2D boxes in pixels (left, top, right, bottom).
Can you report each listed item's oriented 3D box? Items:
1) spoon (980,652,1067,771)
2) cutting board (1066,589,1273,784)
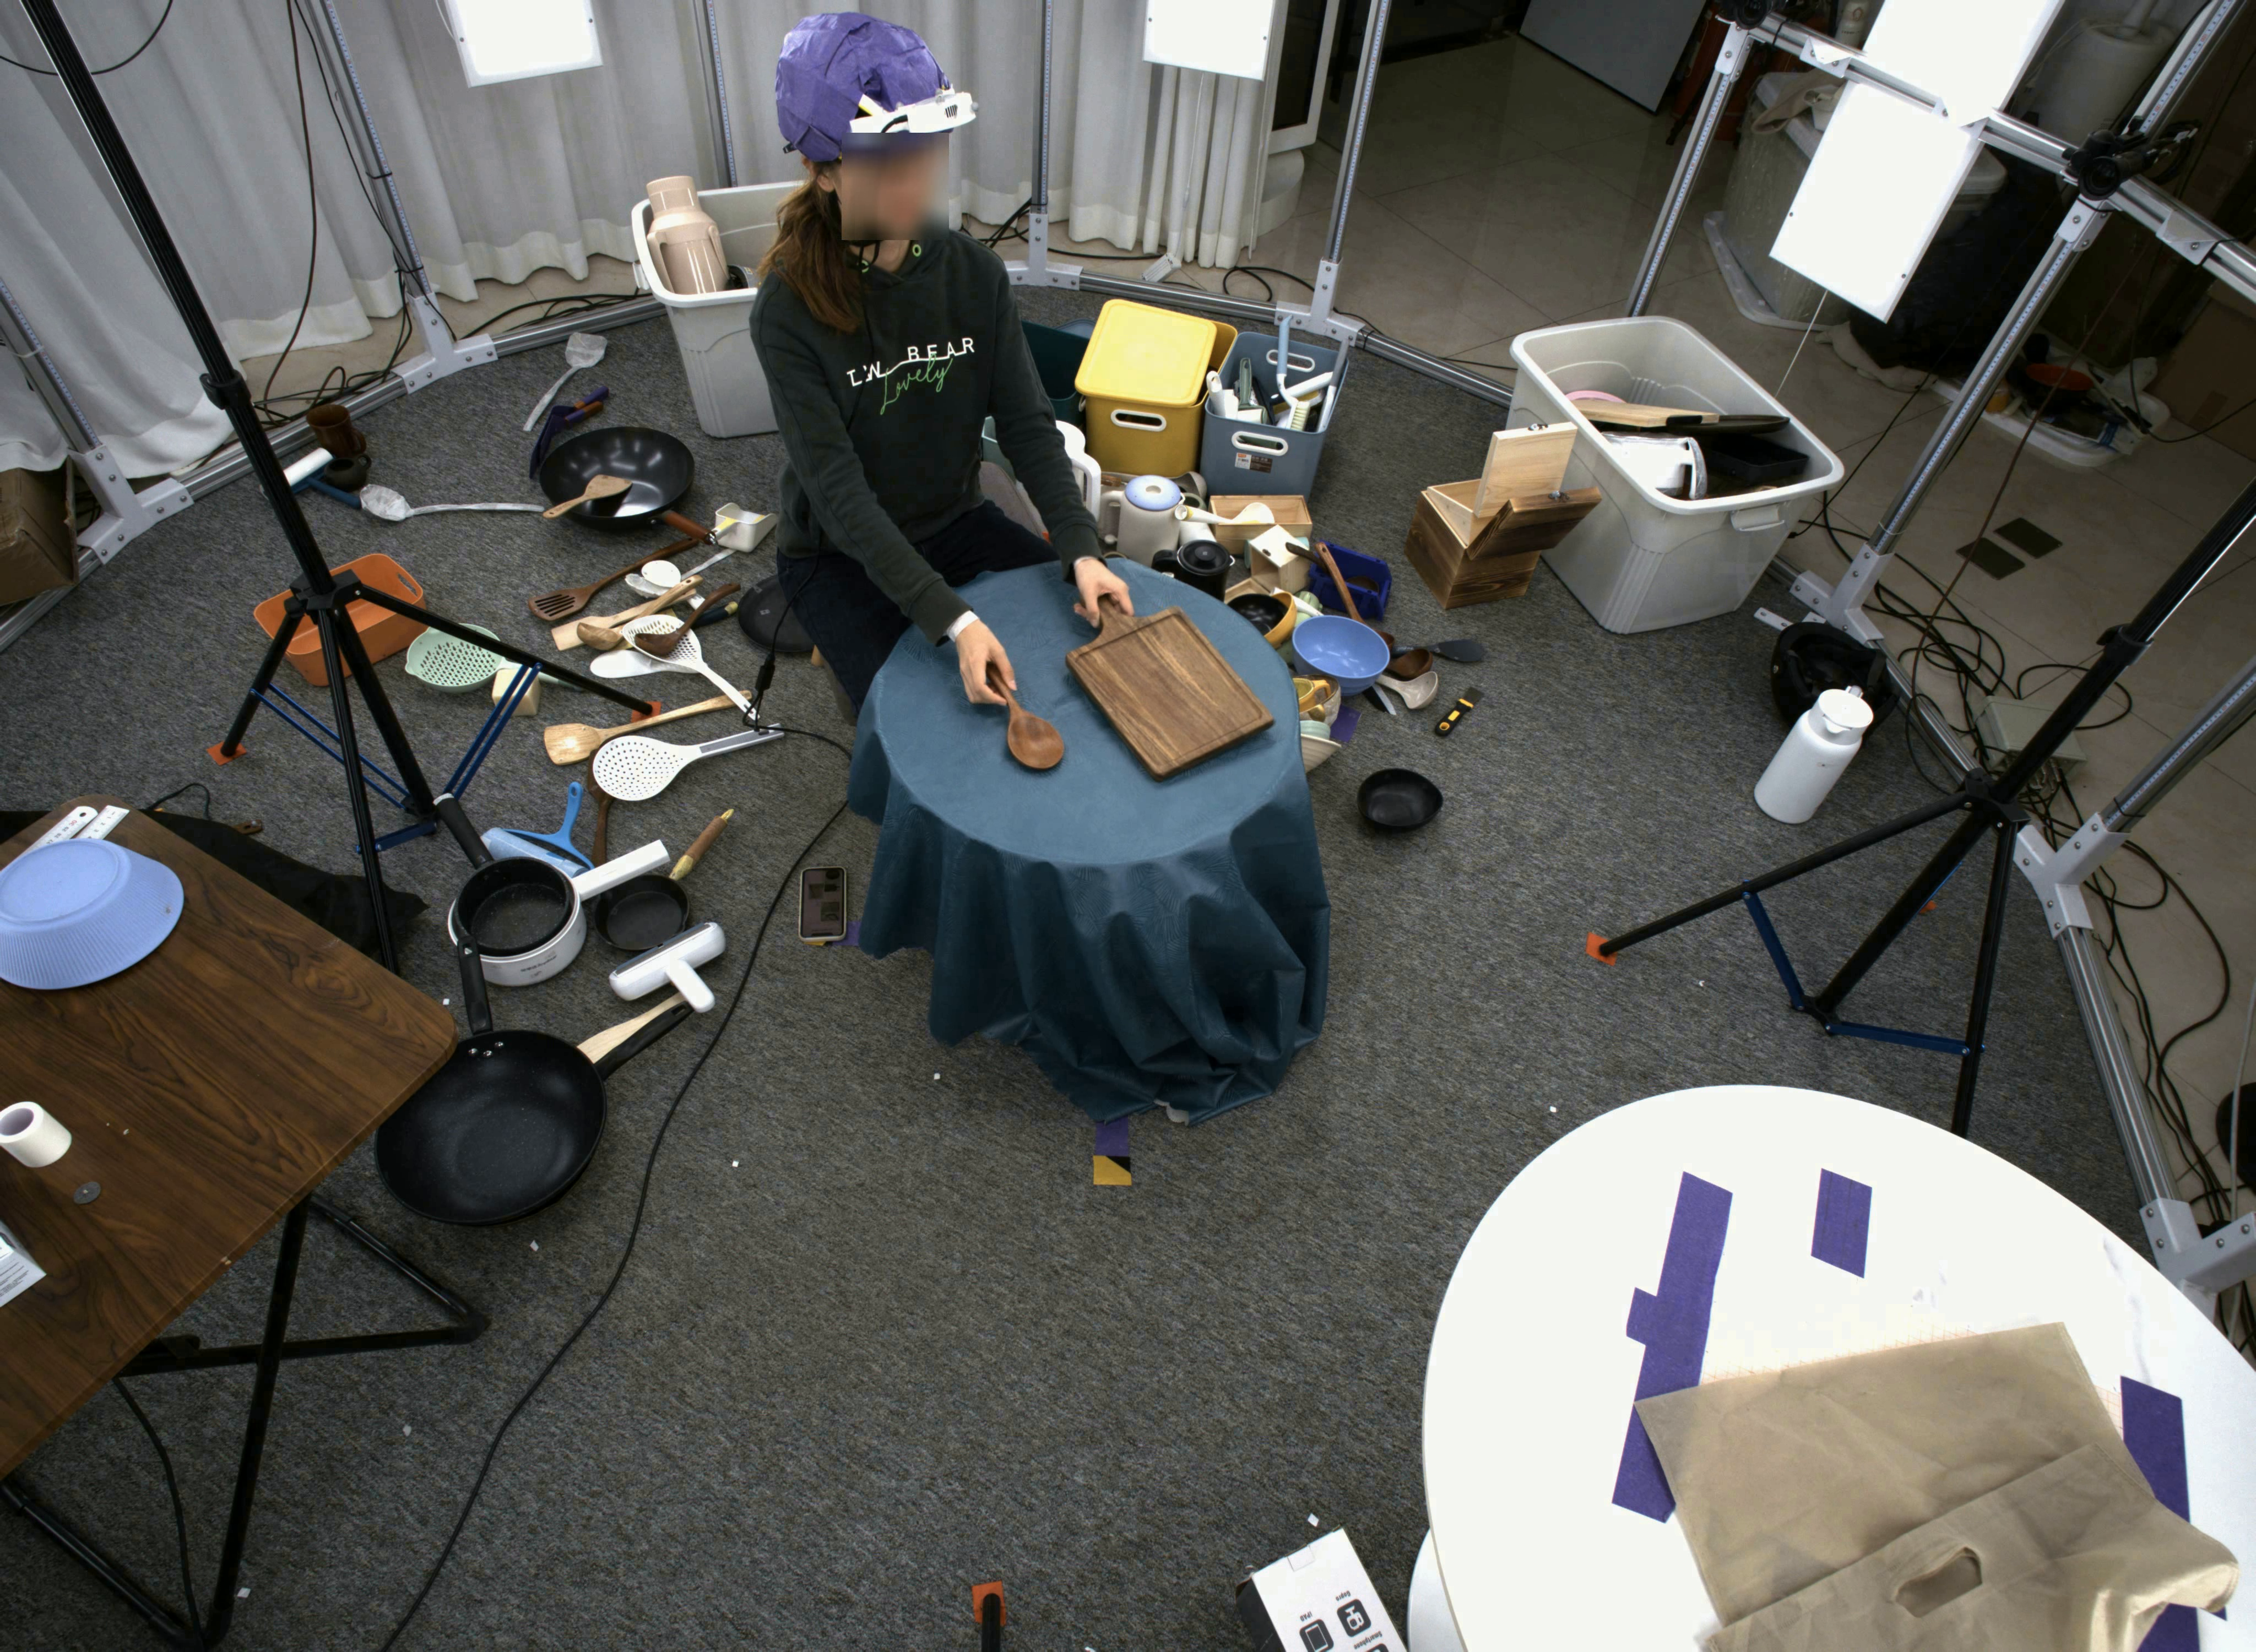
[{"bbox_3d":[-0.153,-0.161,1.786,0.075,0.017,0.220,-20,63,-19],"label":"spoon"},{"bbox_3d":[0.031,-0.226,1.847,0.202,0.022,0.359,-27,59,-17],"label":"cutting board"}]
